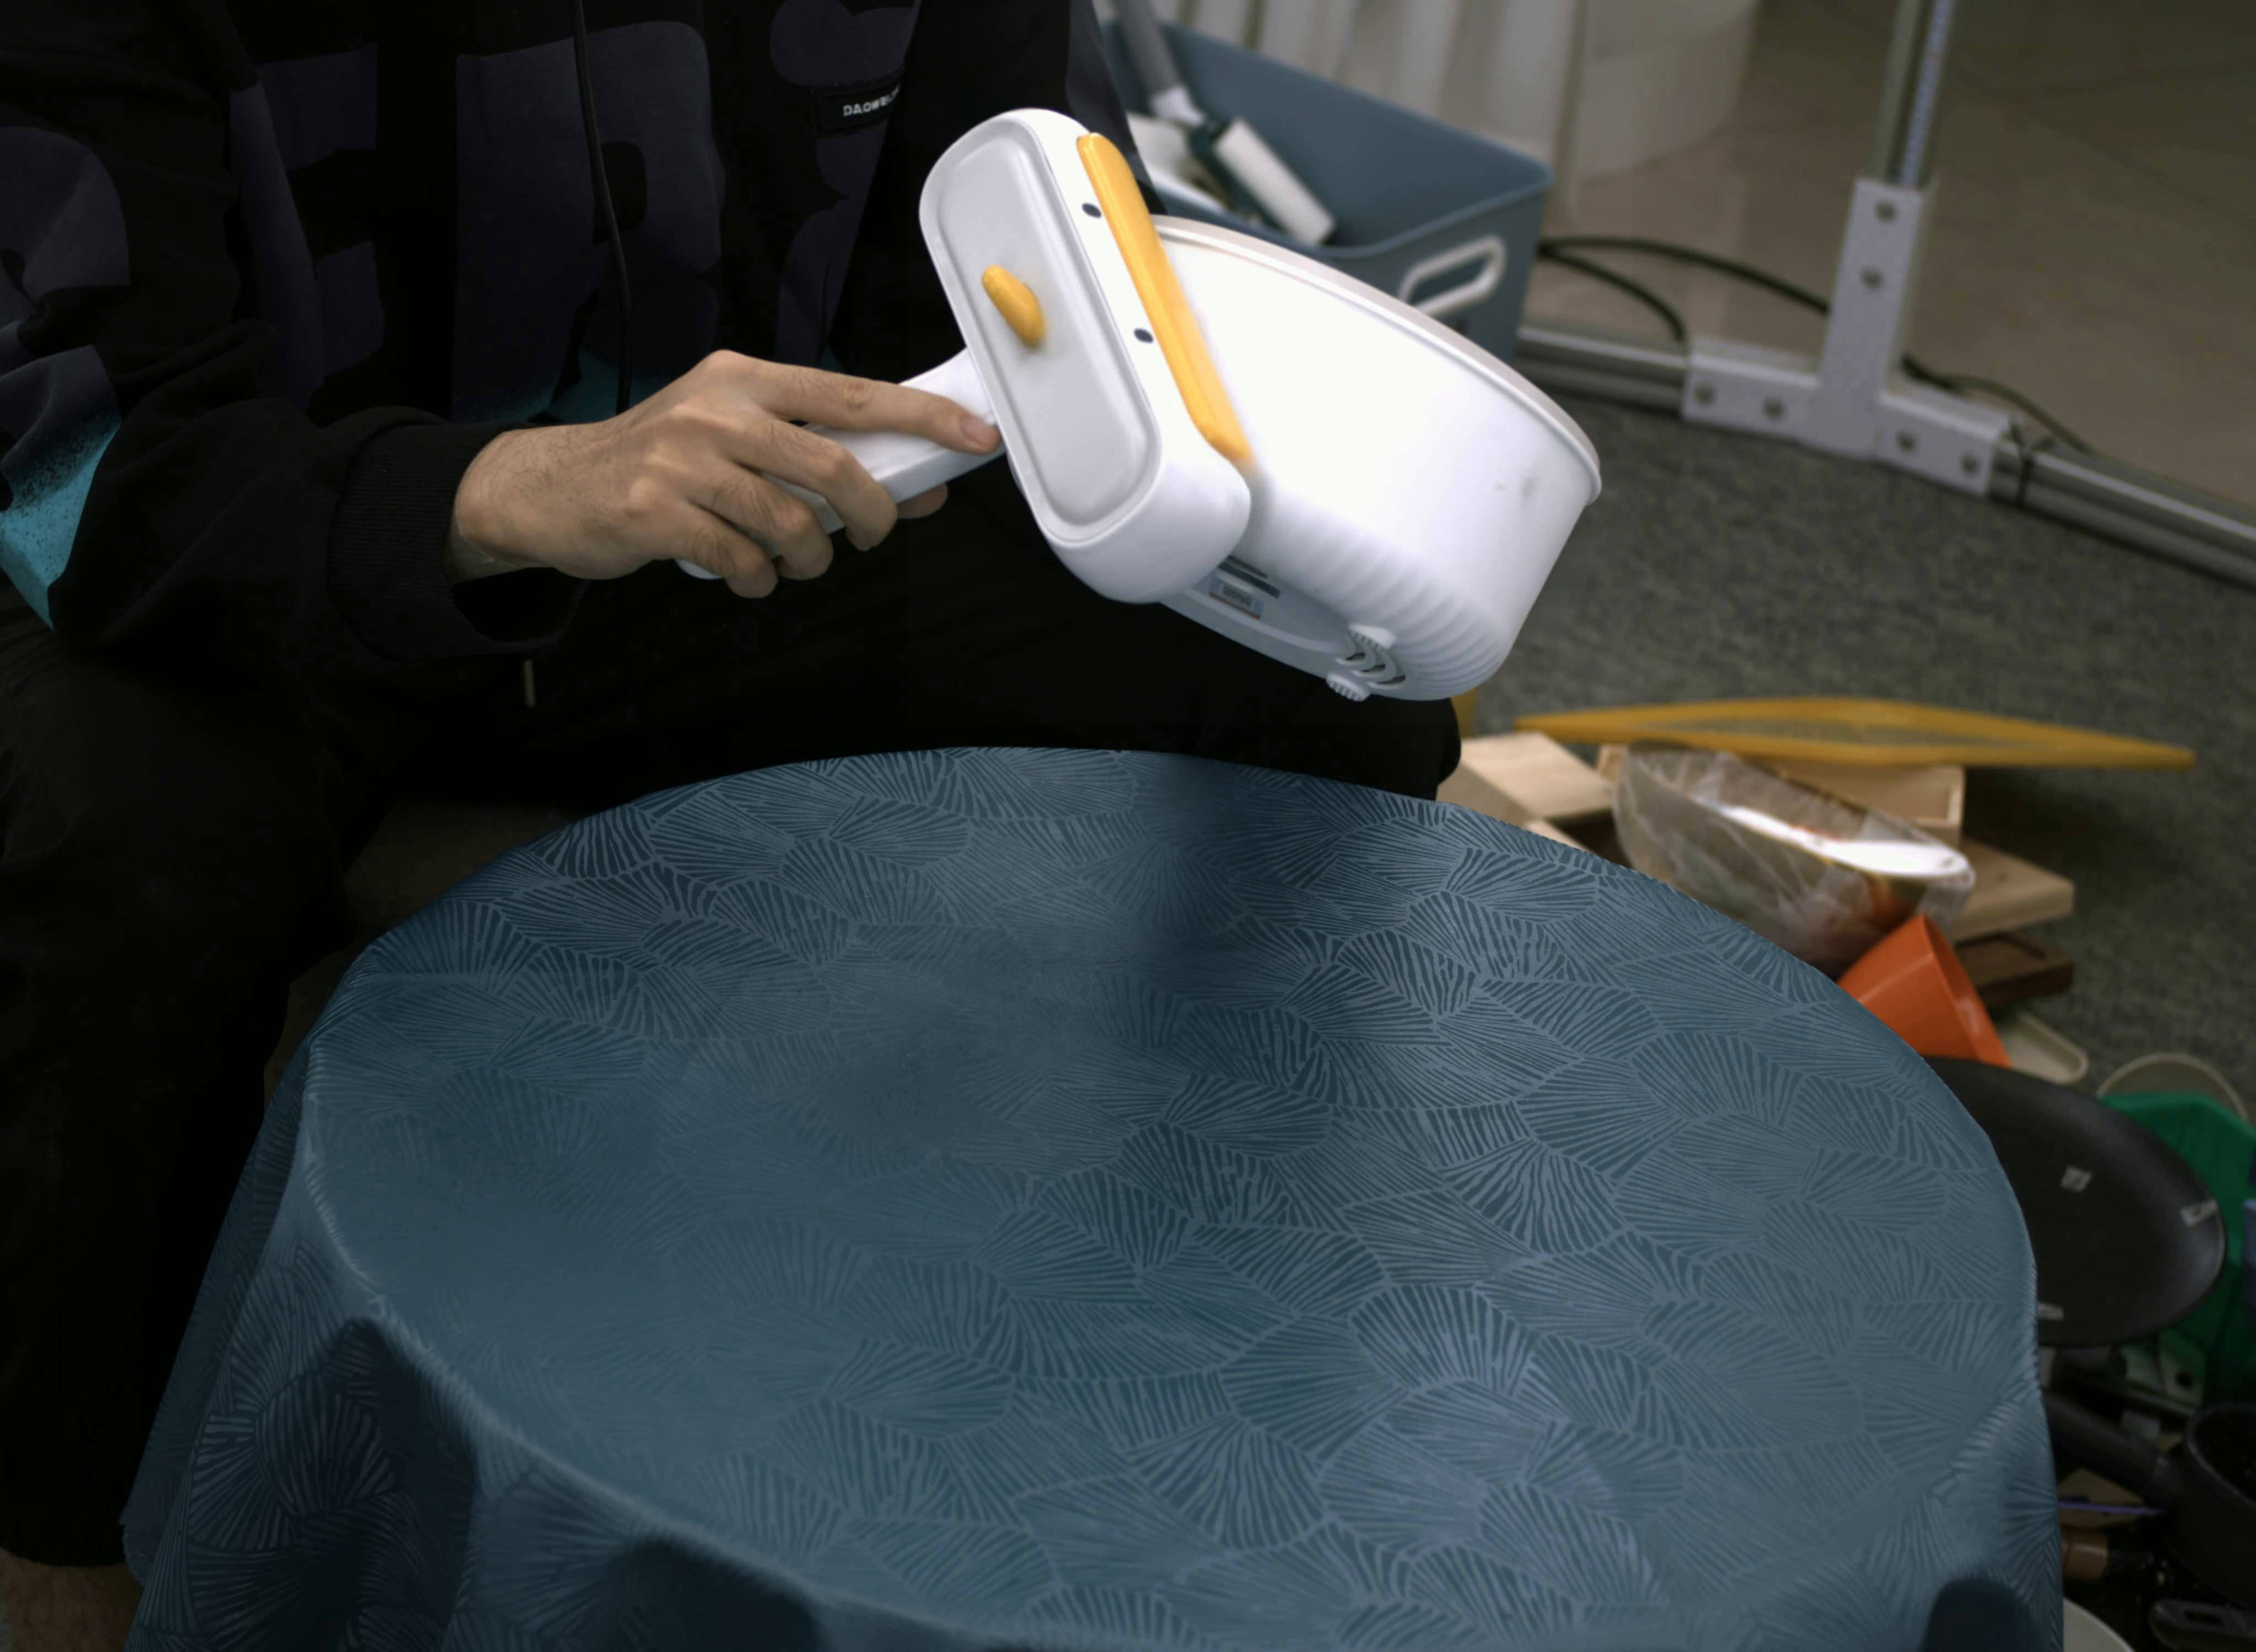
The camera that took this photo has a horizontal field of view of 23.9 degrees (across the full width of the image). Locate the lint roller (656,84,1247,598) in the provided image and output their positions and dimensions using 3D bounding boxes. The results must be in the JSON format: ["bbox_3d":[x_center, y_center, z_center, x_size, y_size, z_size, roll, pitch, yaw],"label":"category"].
[{"bbox_3d":[-0.069,-0.137,1.786,0.073,0.192,0.194,34,25,-56],"label":"lint roller"}]

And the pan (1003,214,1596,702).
[{"bbox_3d":[0.052,-0.110,1.942,0.201,0.102,0.354,26,-9,2],"label":"pan"}]
